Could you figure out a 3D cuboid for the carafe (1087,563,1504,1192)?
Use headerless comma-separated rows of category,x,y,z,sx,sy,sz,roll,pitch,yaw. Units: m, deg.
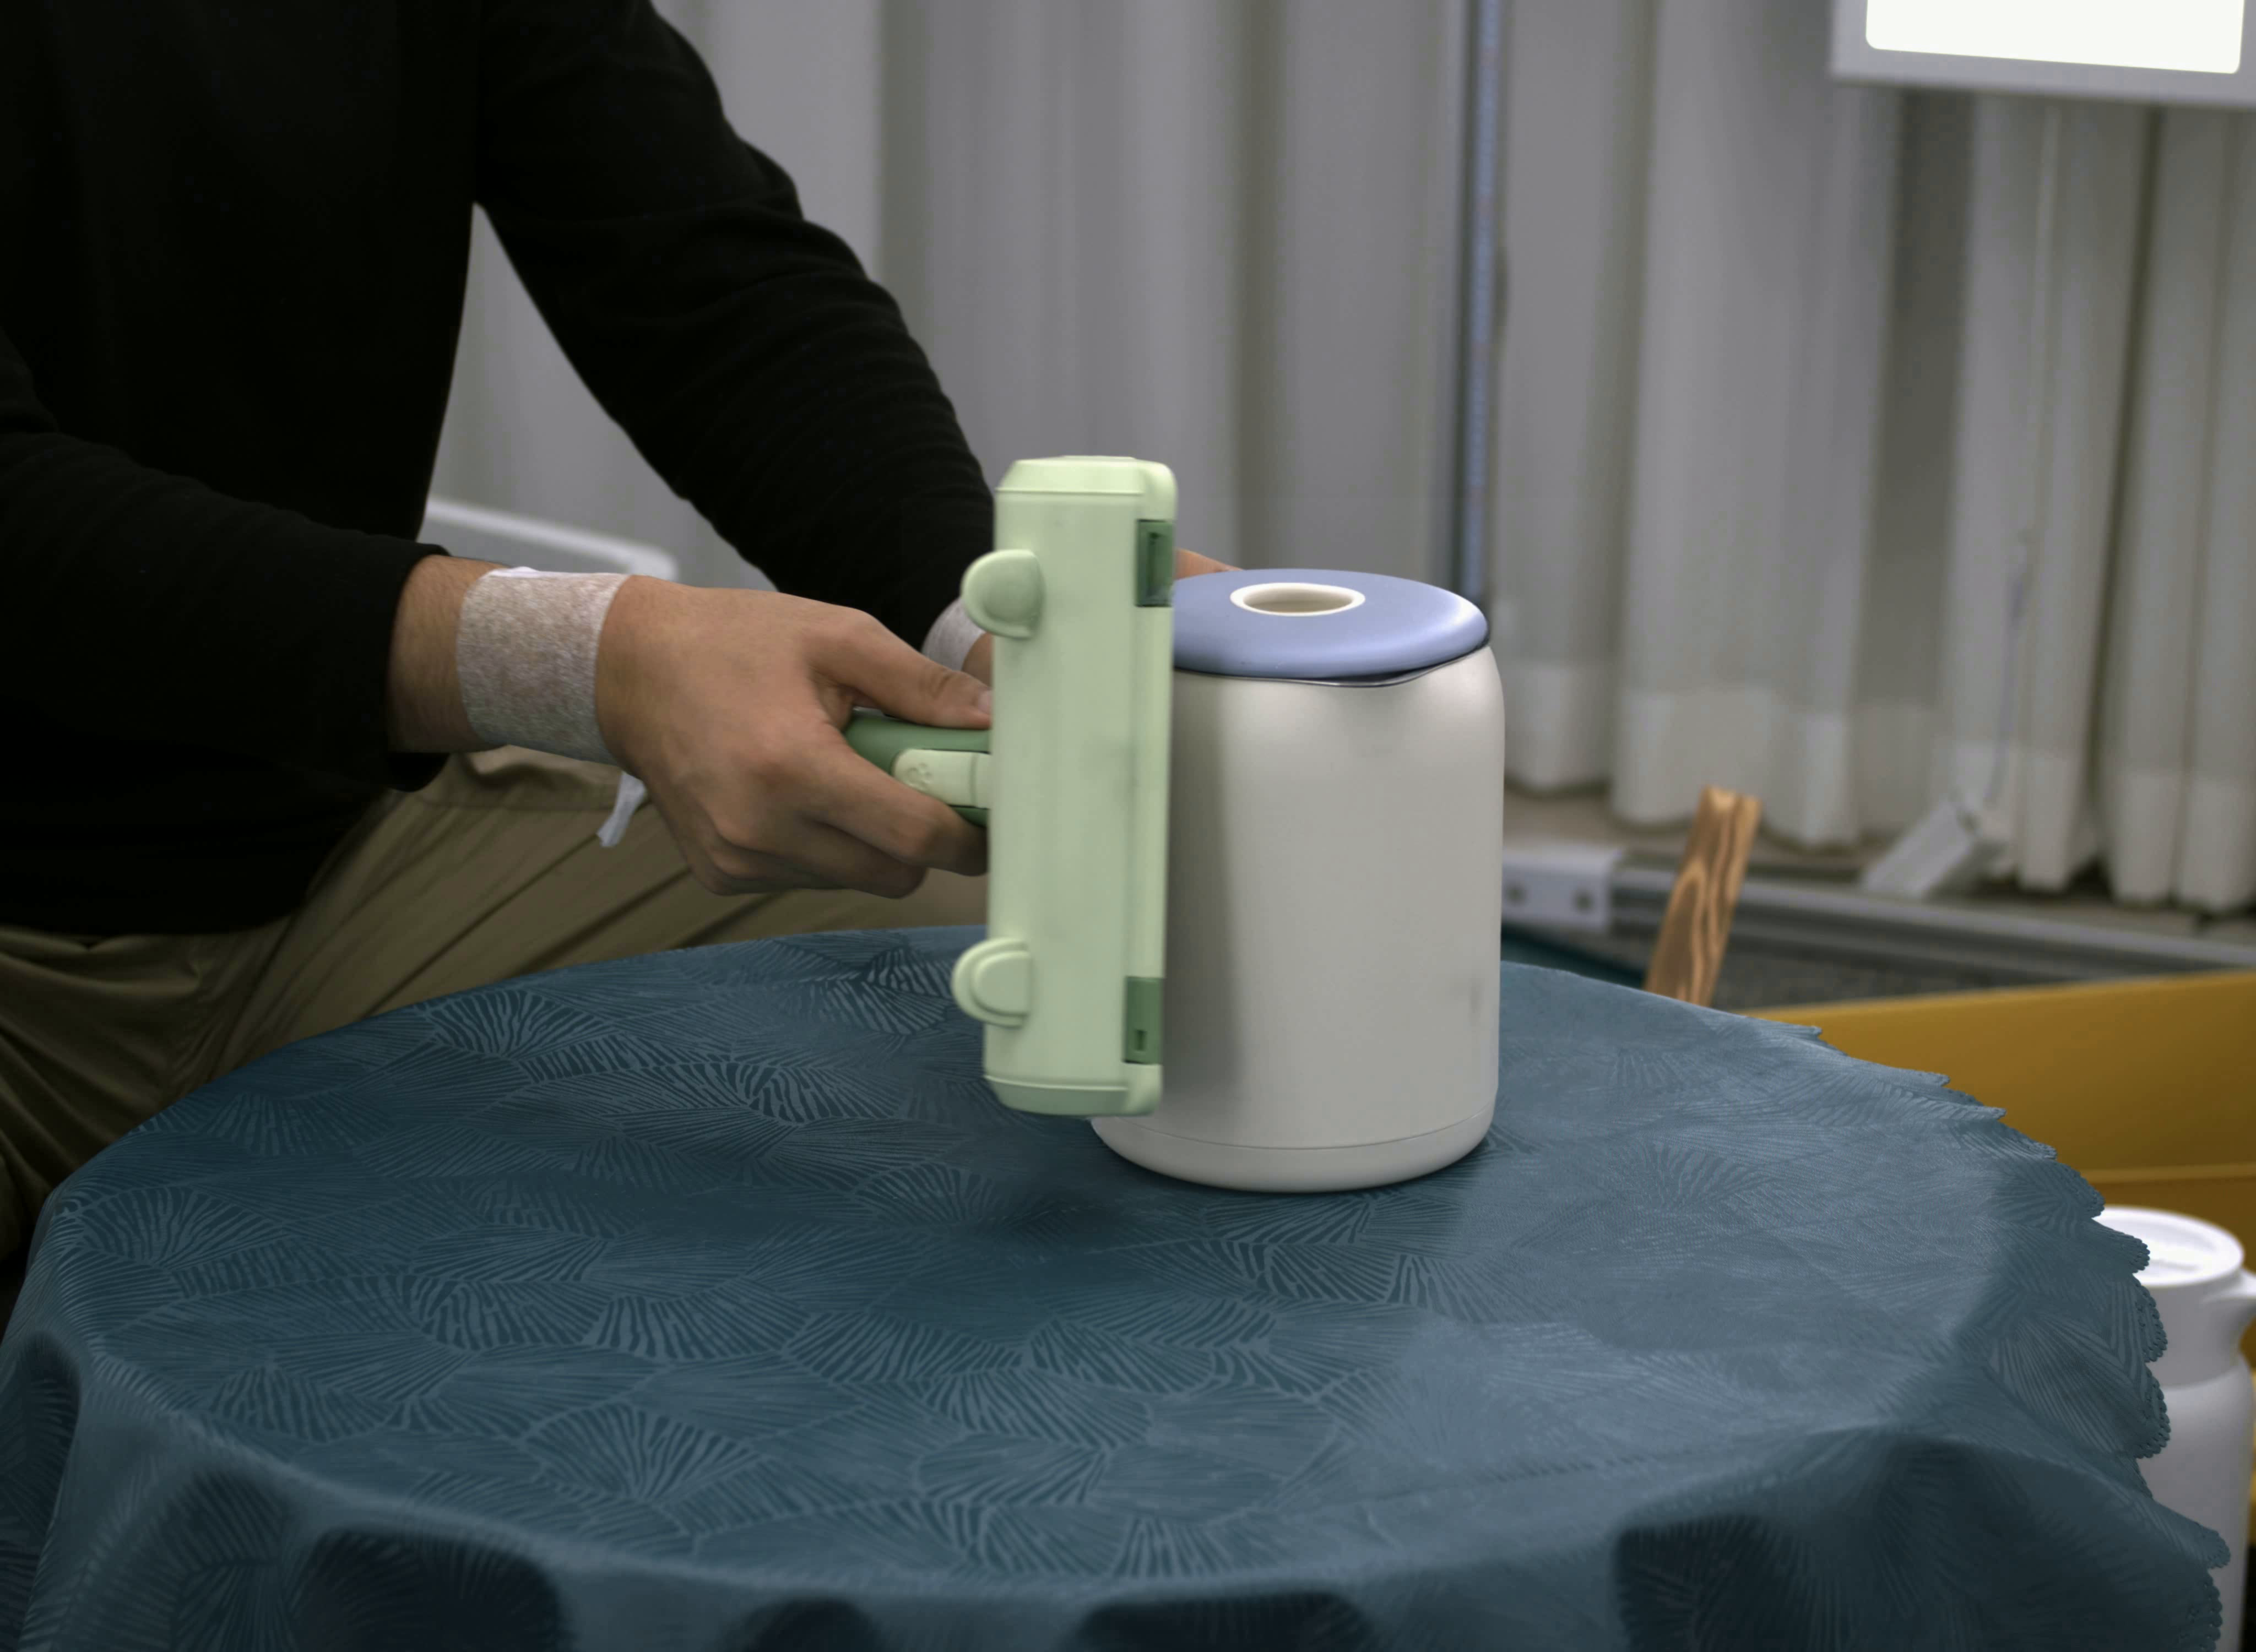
carafe,0.042,0.009,1.671,0.132,0.184,0.189,-6,15,-22

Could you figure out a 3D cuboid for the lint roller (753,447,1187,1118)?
lint roller,-0.059,-0.016,1.596,0.181,0.199,0.083,4,6,34
